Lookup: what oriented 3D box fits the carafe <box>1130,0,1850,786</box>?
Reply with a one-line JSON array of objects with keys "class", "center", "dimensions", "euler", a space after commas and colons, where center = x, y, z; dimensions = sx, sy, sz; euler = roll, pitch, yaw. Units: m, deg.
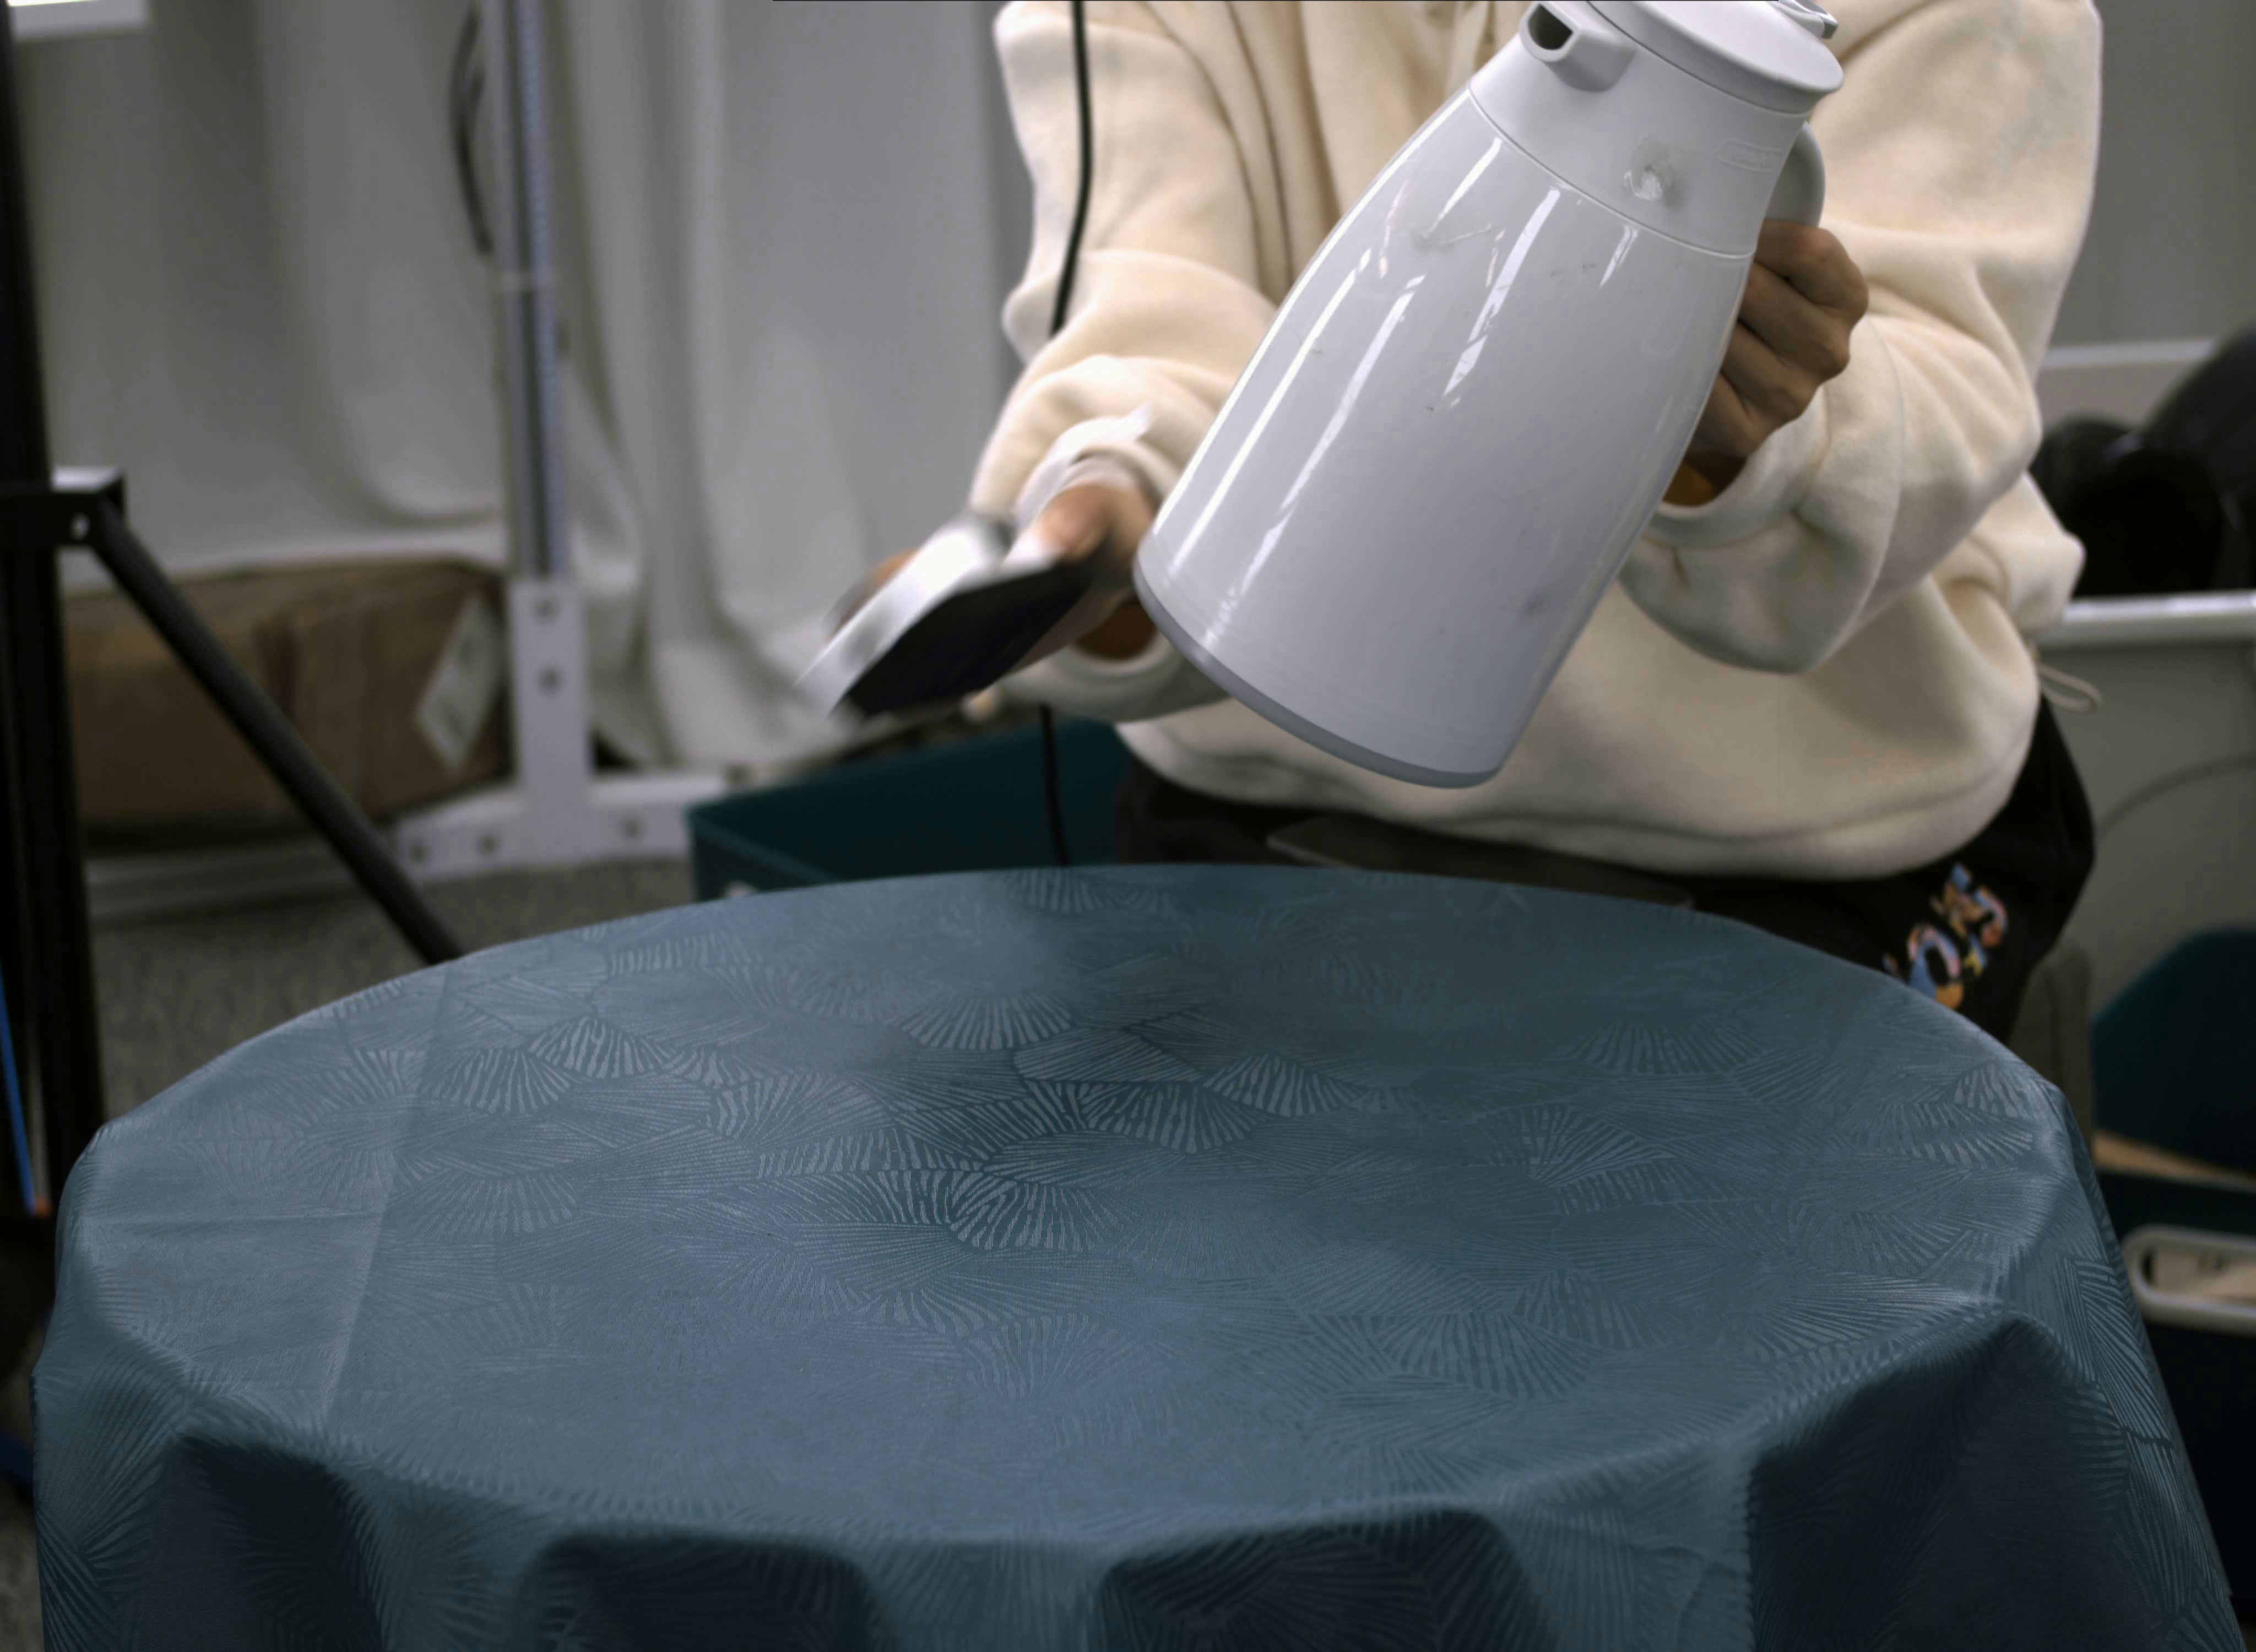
[{"class": "carafe", "center": [0.128, -0.150, 1.614], "dimensions": [0.163, 0.250, 0.135], "euler": [4, 35, -49]}]

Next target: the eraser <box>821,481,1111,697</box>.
[{"class": "eraser", "center": [-0.049, -0.072, 1.642], "dimensions": [0.064, 0.035, 0.129], "euler": [-41, -8, 17]}]
